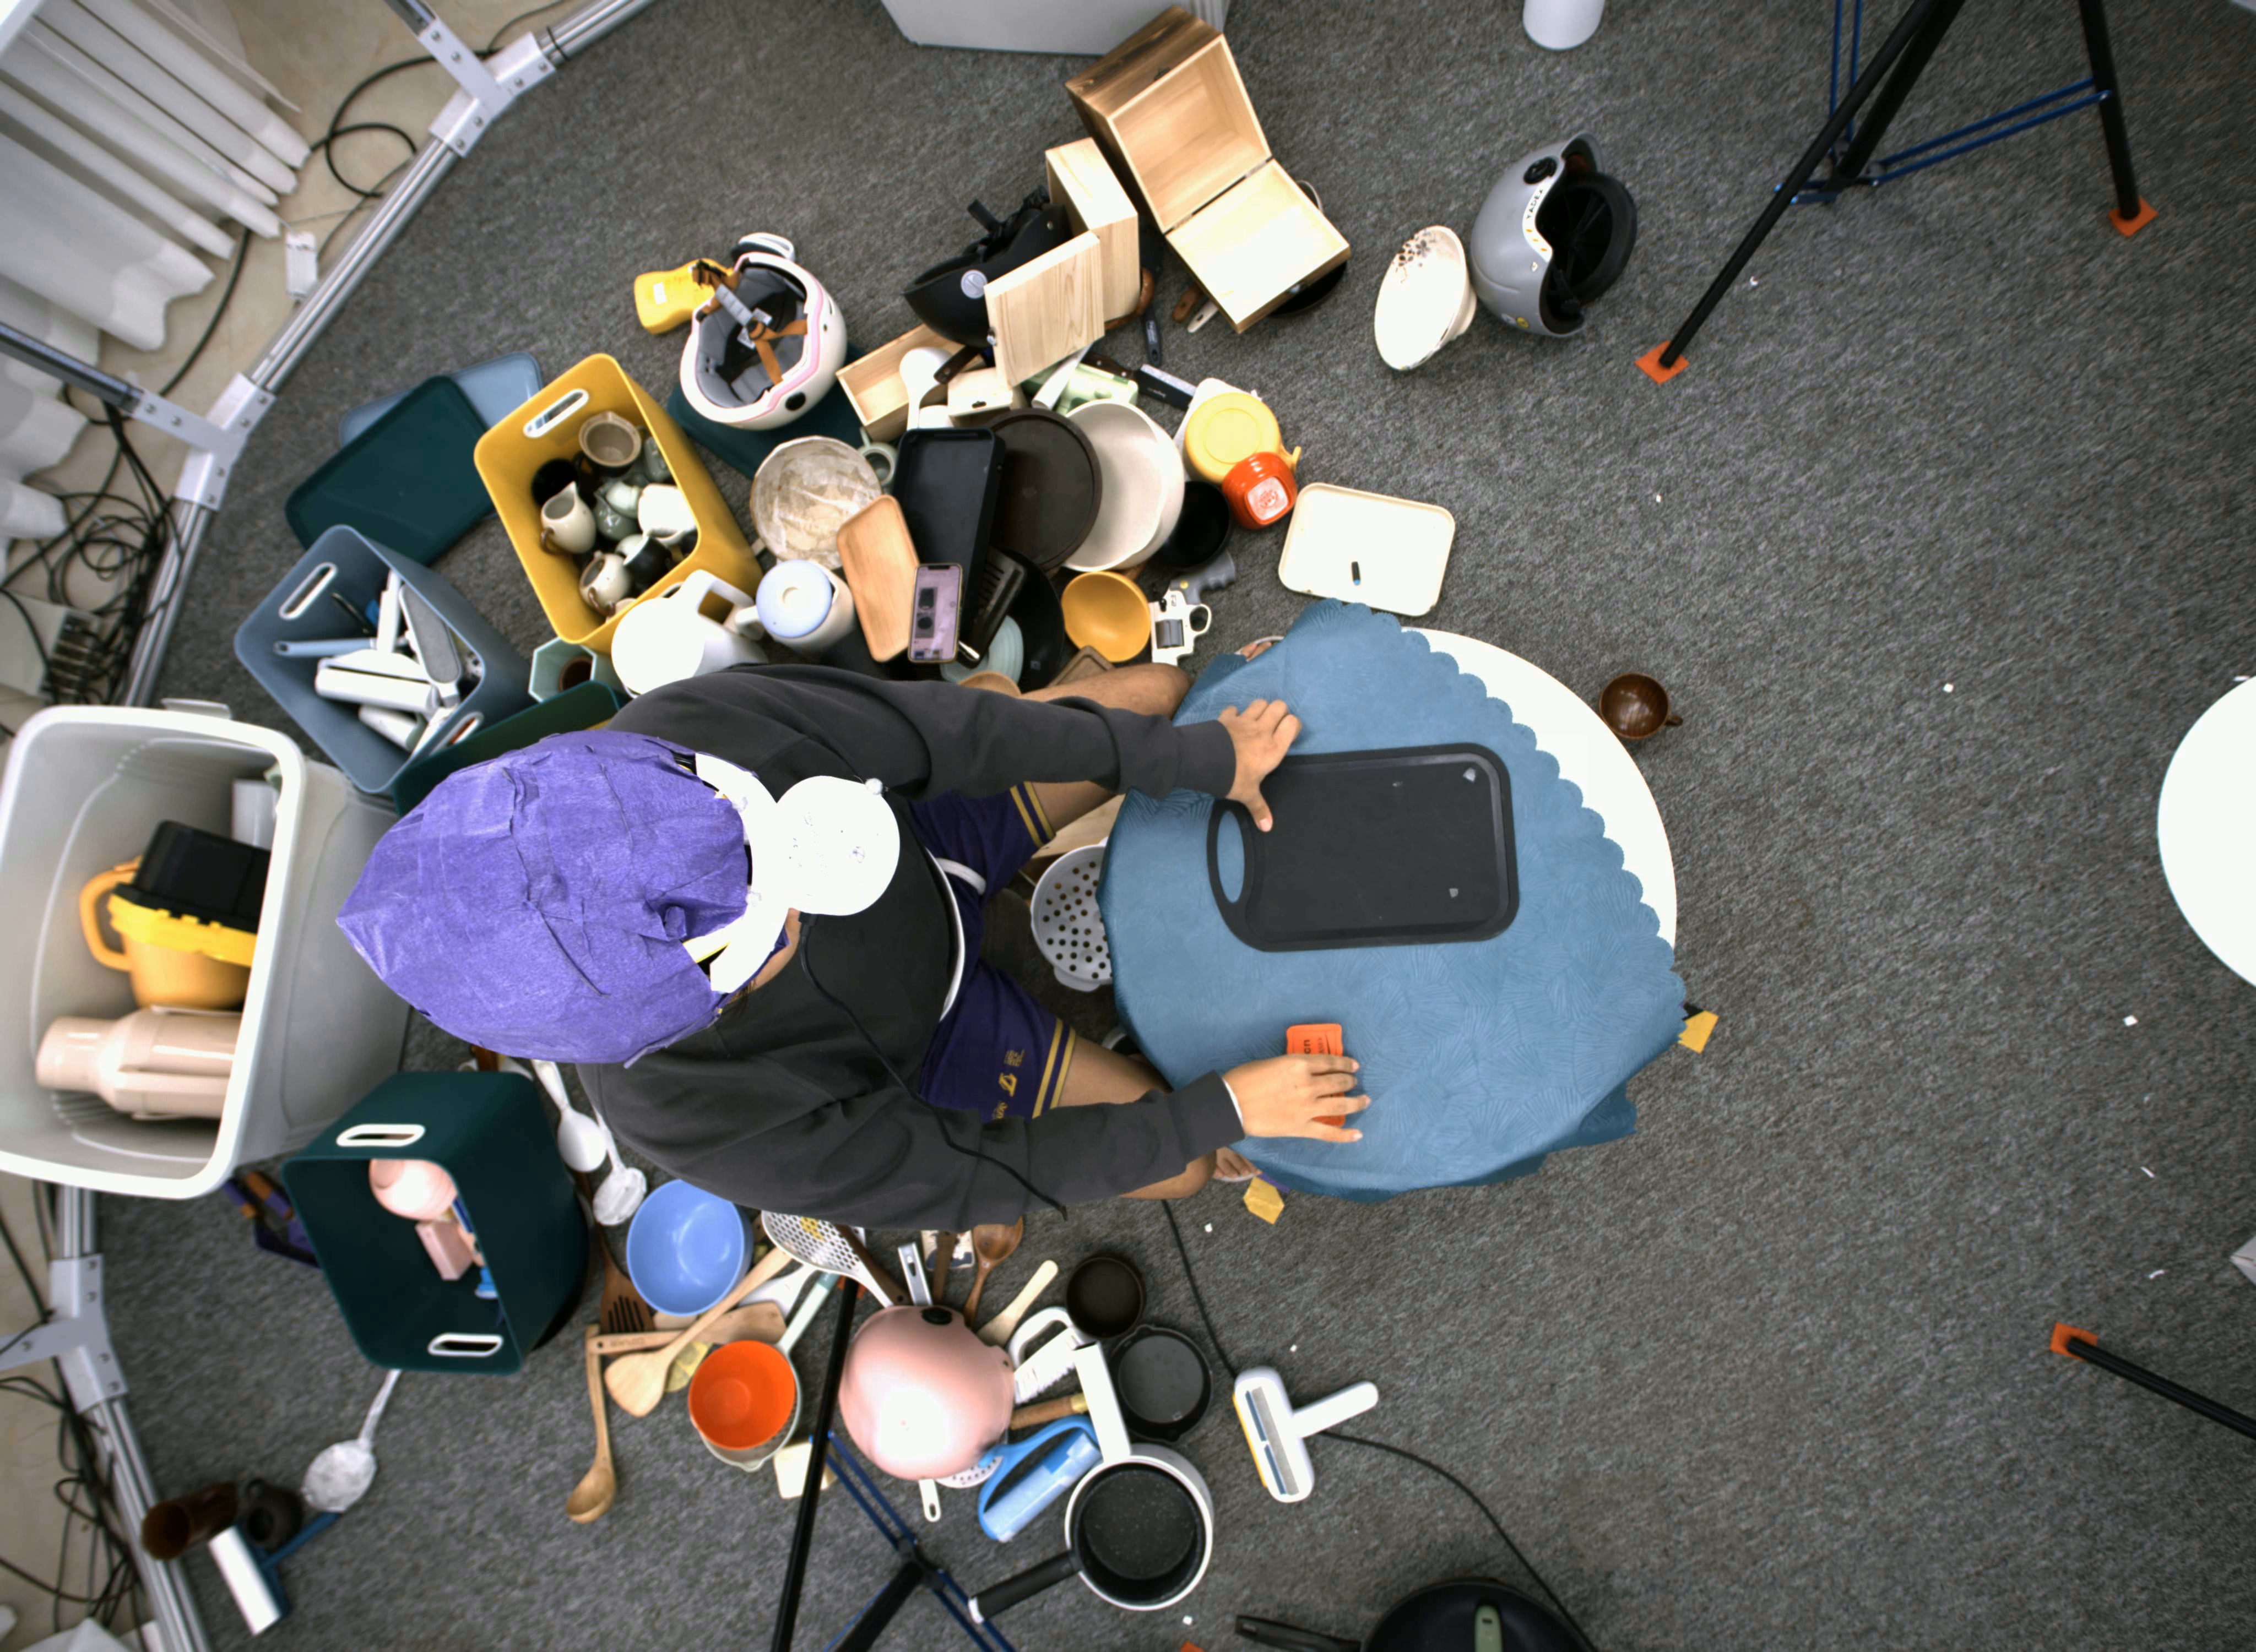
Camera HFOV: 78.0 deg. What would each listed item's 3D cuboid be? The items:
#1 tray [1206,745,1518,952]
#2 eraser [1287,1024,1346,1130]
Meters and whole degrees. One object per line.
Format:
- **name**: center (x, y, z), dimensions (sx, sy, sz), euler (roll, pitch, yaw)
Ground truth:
- **tray**: center (0.244, 0.024, 1.463), dimensions (0.327, 0.010, 0.210), euler (-3, 86, 10)
- **eraser**: center (0.197, 0.260, 1.447), dimensions (0.059, 0.023, 0.107), euler (-3, 85, 10)
